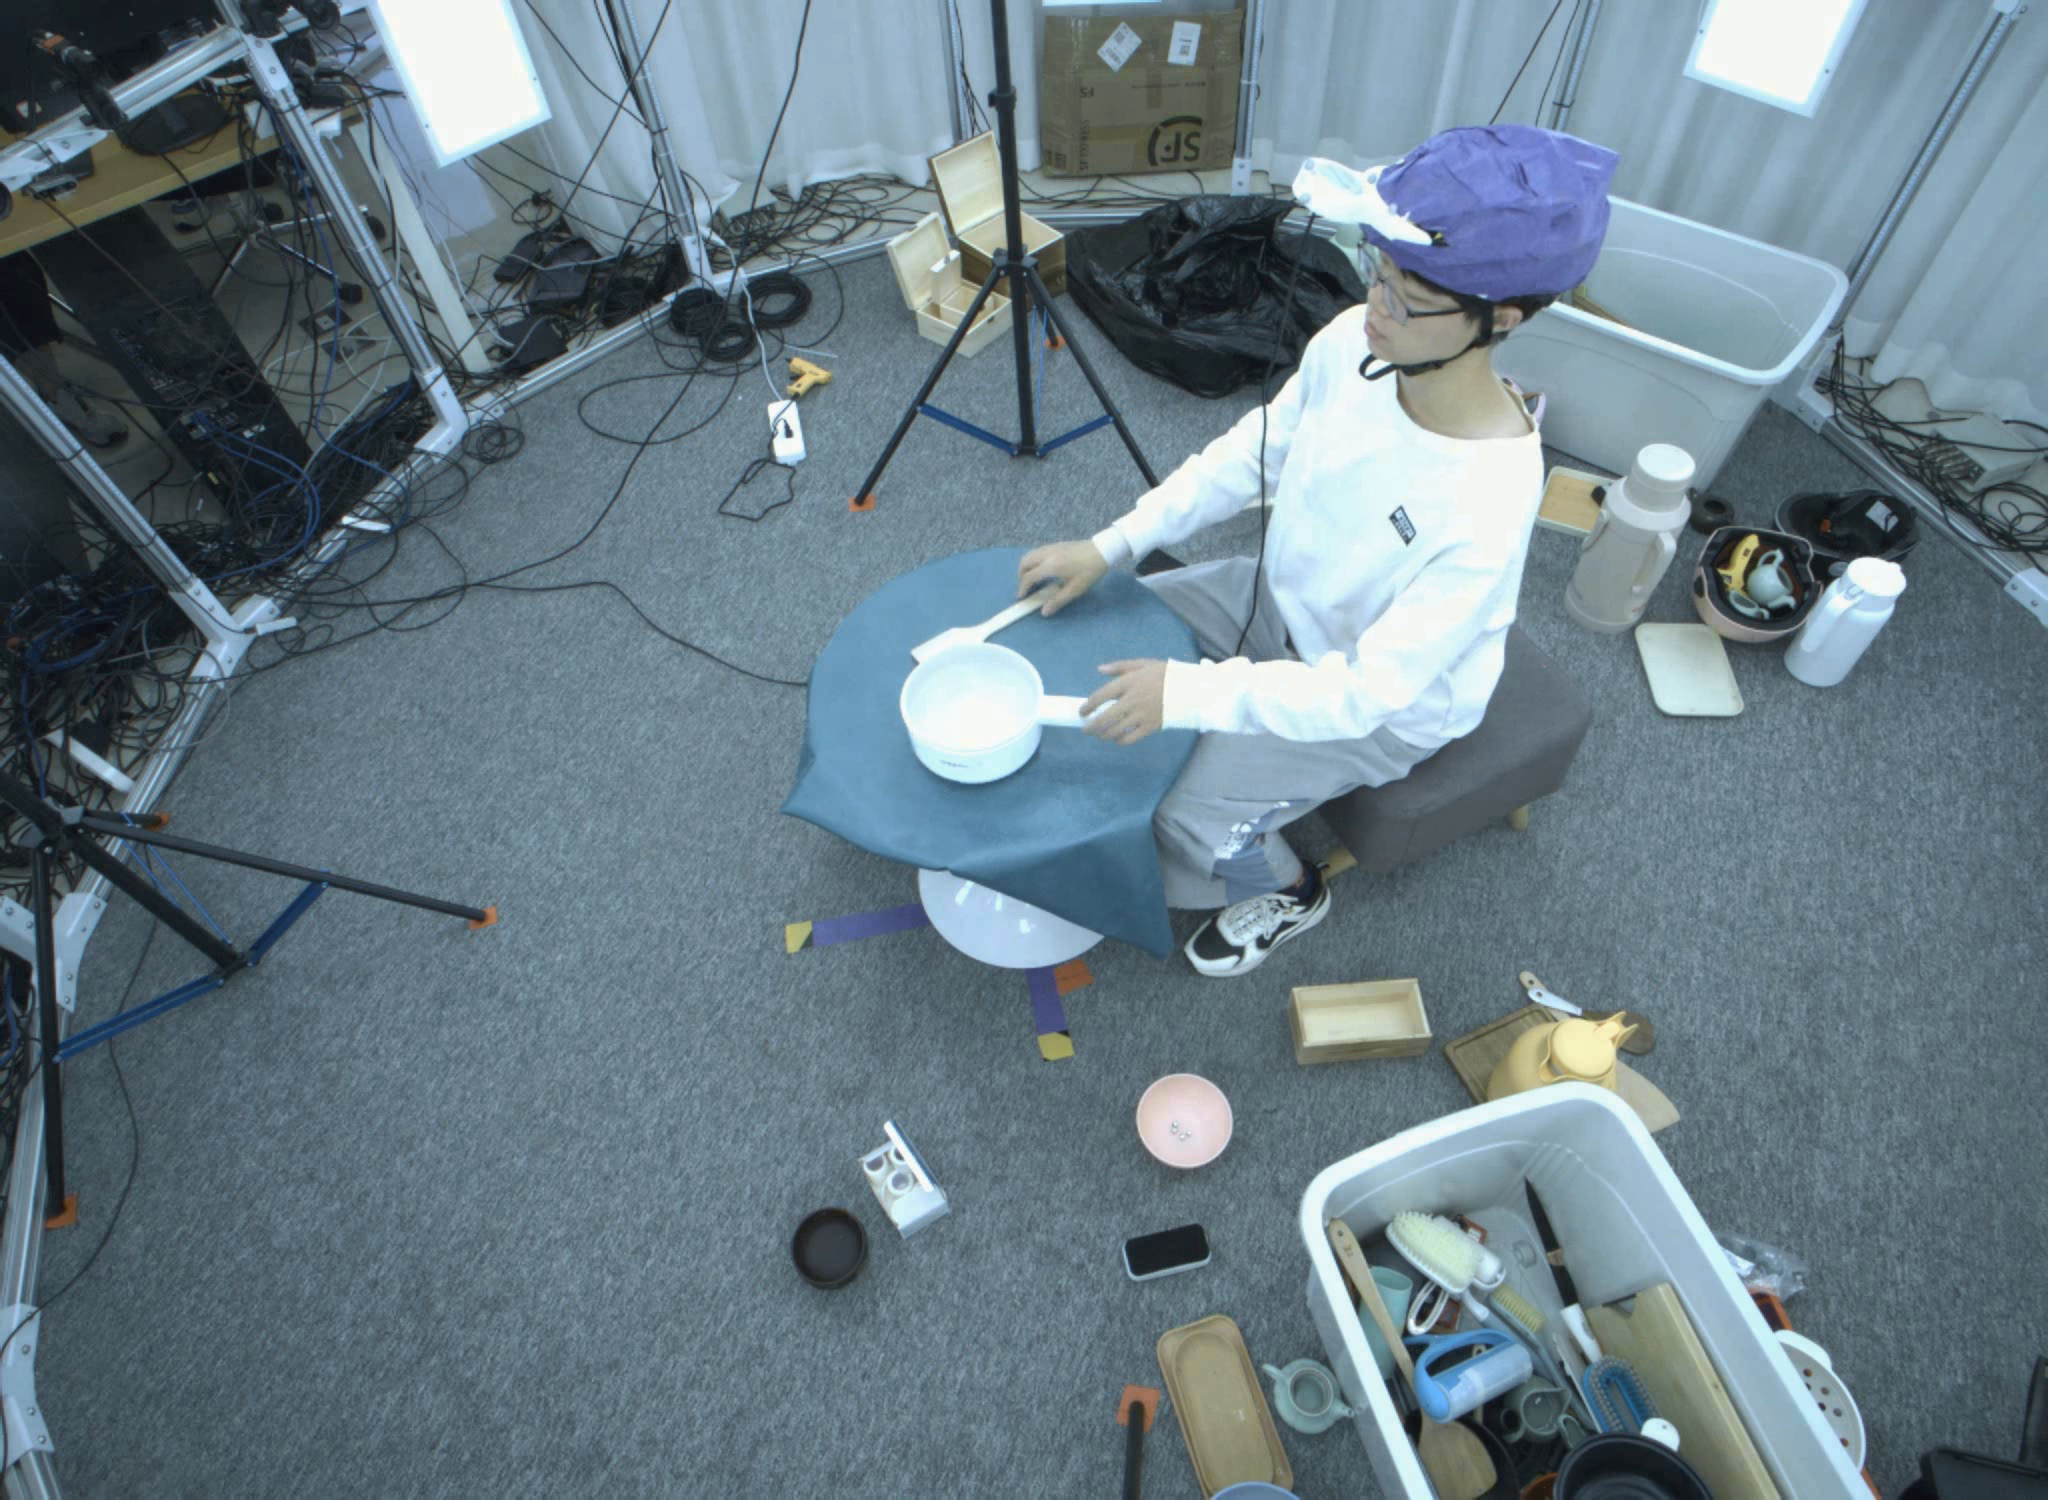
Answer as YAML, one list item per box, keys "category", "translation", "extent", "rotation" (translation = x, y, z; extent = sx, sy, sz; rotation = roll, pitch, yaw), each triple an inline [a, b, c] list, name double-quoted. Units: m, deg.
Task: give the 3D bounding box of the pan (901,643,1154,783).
- category: "pan"
  translation: [0.006, -0.041, 1.754]
  extent: [0.354, 0.103, 0.200]
  rotation: [6, 54, 4]

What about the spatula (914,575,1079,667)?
- category: "spatula"
  translation: [-0.036, -0.203, 1.926]
  extent: [0.295, 0.011, 0.071]
  rotation: [-32, 58, -19]
